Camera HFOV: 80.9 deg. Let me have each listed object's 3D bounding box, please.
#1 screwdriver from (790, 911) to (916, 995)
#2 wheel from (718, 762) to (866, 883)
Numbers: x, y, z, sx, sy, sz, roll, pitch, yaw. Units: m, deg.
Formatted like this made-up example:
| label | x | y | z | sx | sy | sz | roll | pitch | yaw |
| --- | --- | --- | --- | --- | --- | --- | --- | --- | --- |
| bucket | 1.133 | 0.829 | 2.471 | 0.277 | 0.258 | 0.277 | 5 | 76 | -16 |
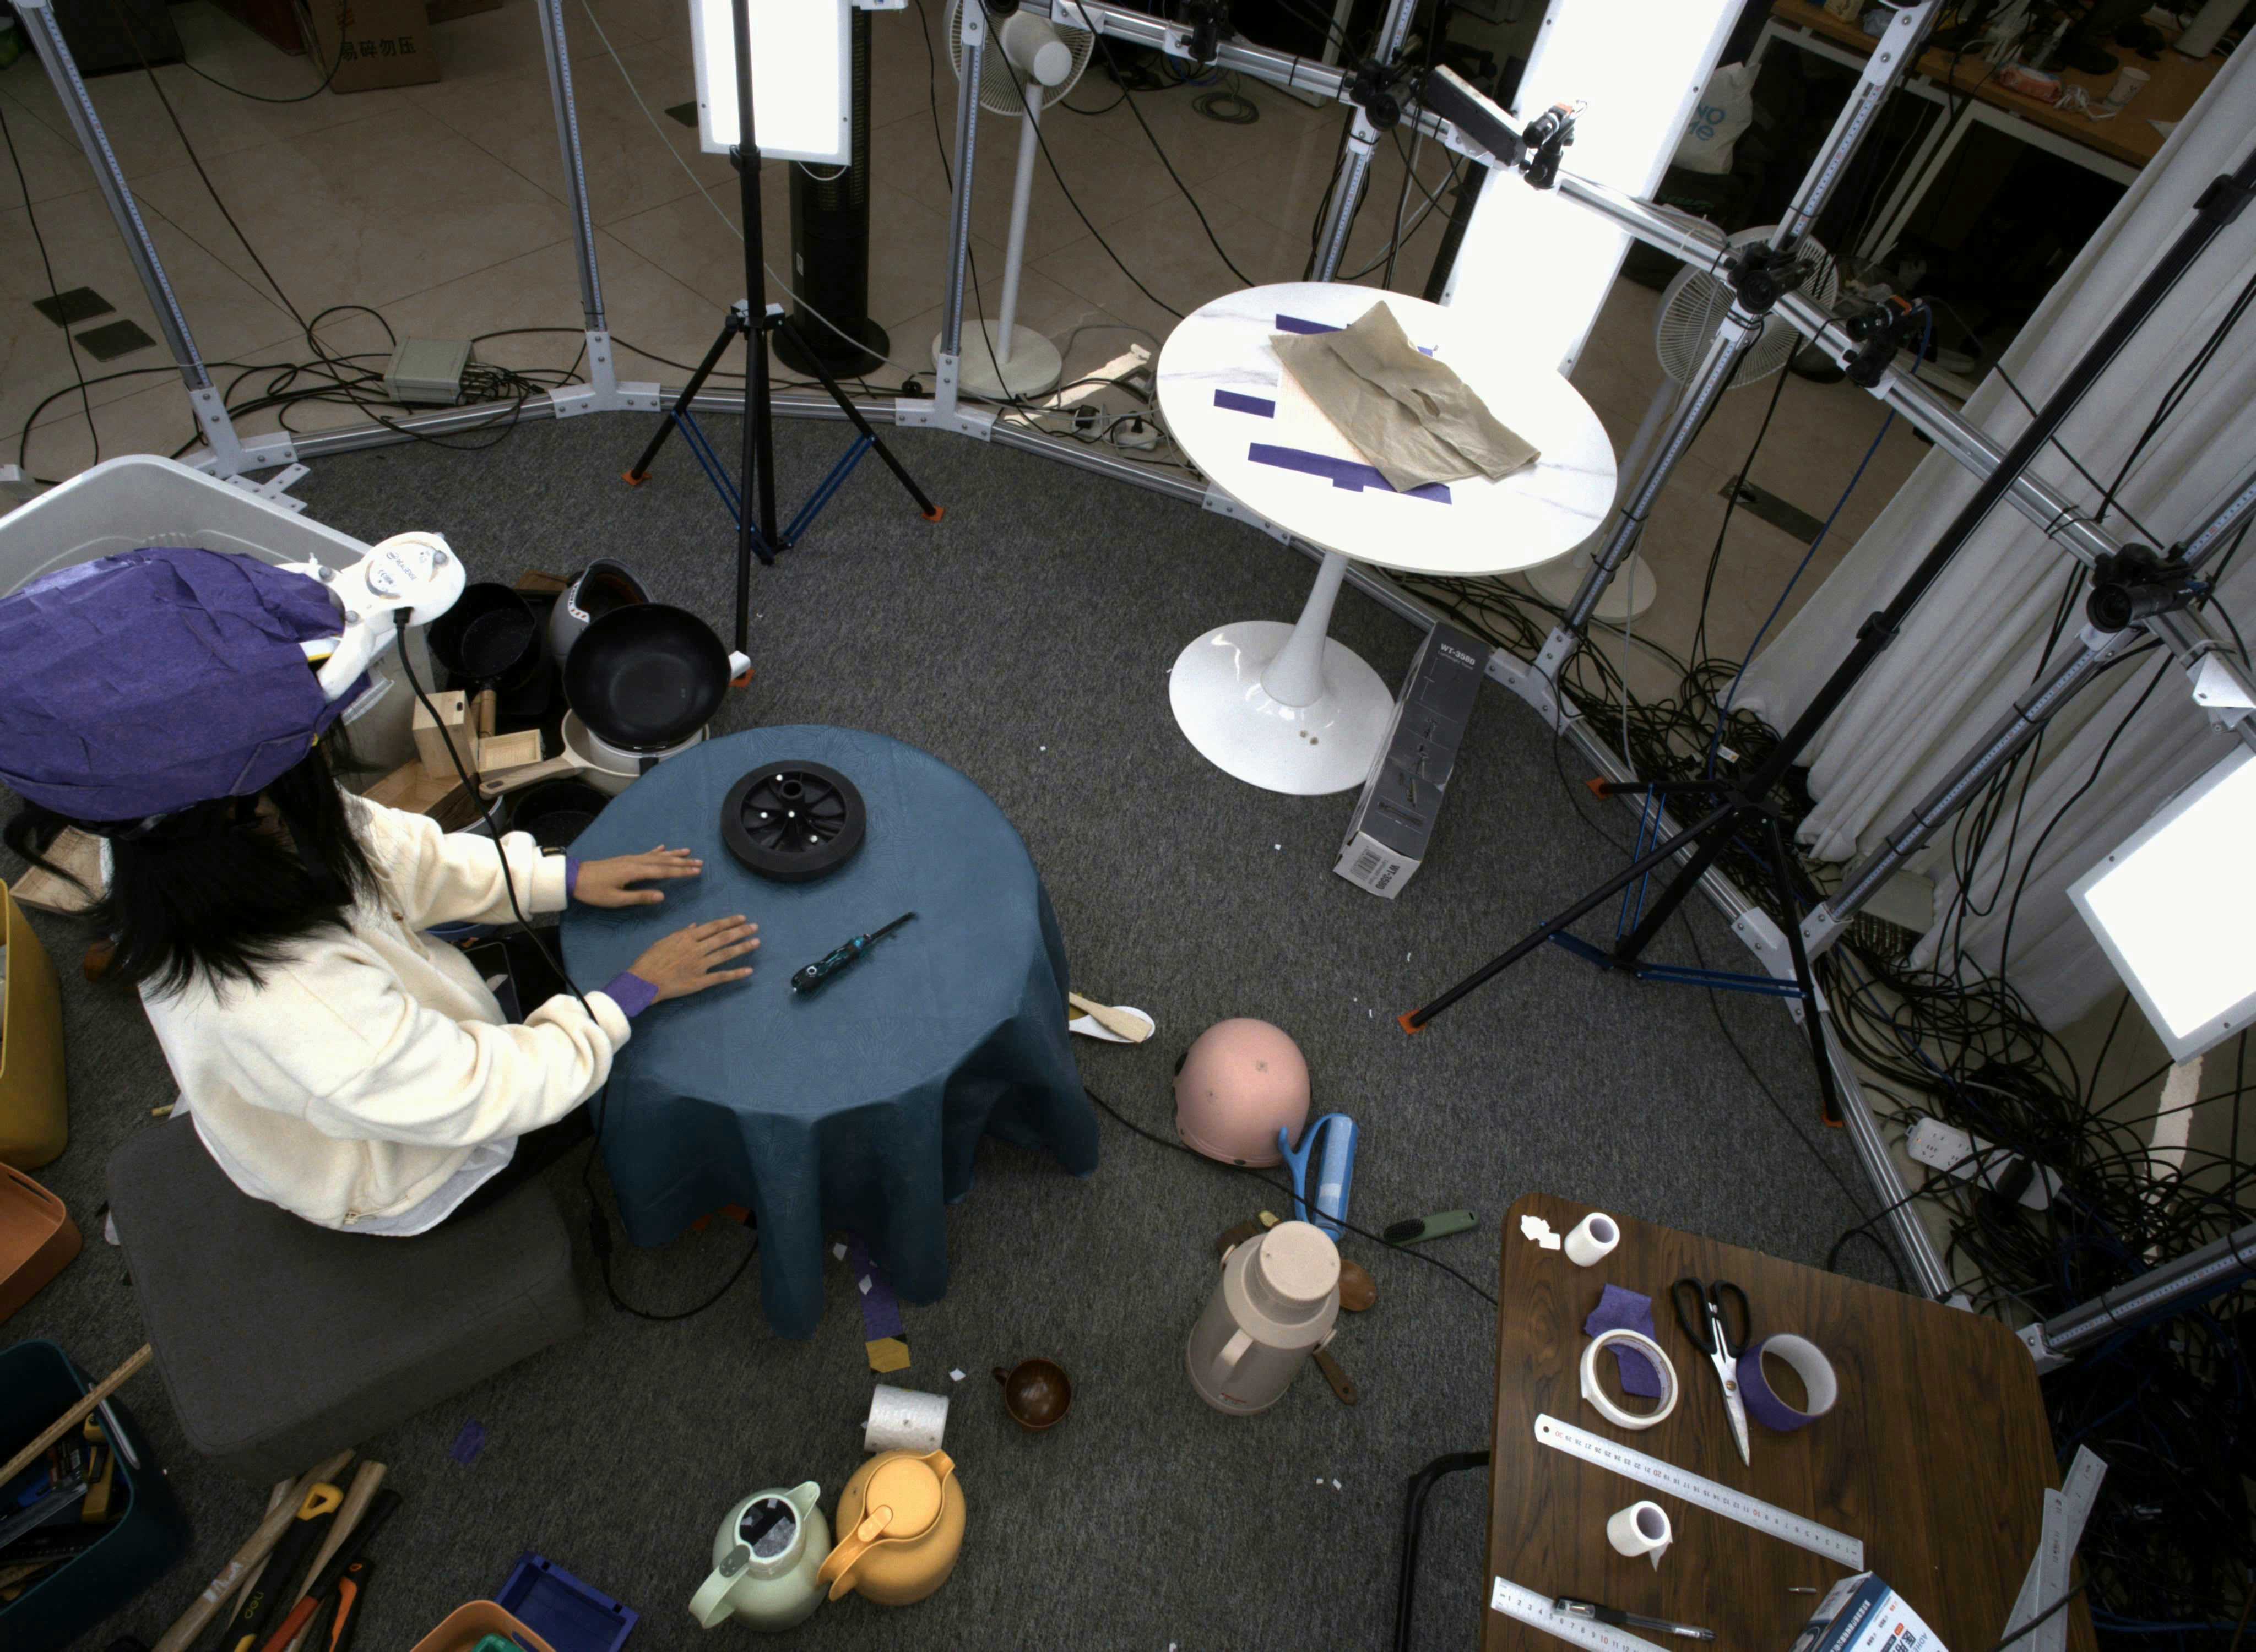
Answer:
| label | x | y | z | sx | sy | sz | roll | pitch | yaw |
| --- | --- | --- | --- | --- | --- | --- | --- | --- | --- |
| screwdriver | -0.337 | 0.152 | 1.615 | 0.033 | 0.034 | 0.191 | 41 | 49 | 19 |
| wheel | -0.435 | -0.022 | 1.684 | 0.191 | 0.080 | 0.183 | -1 | 54 | -21 |
